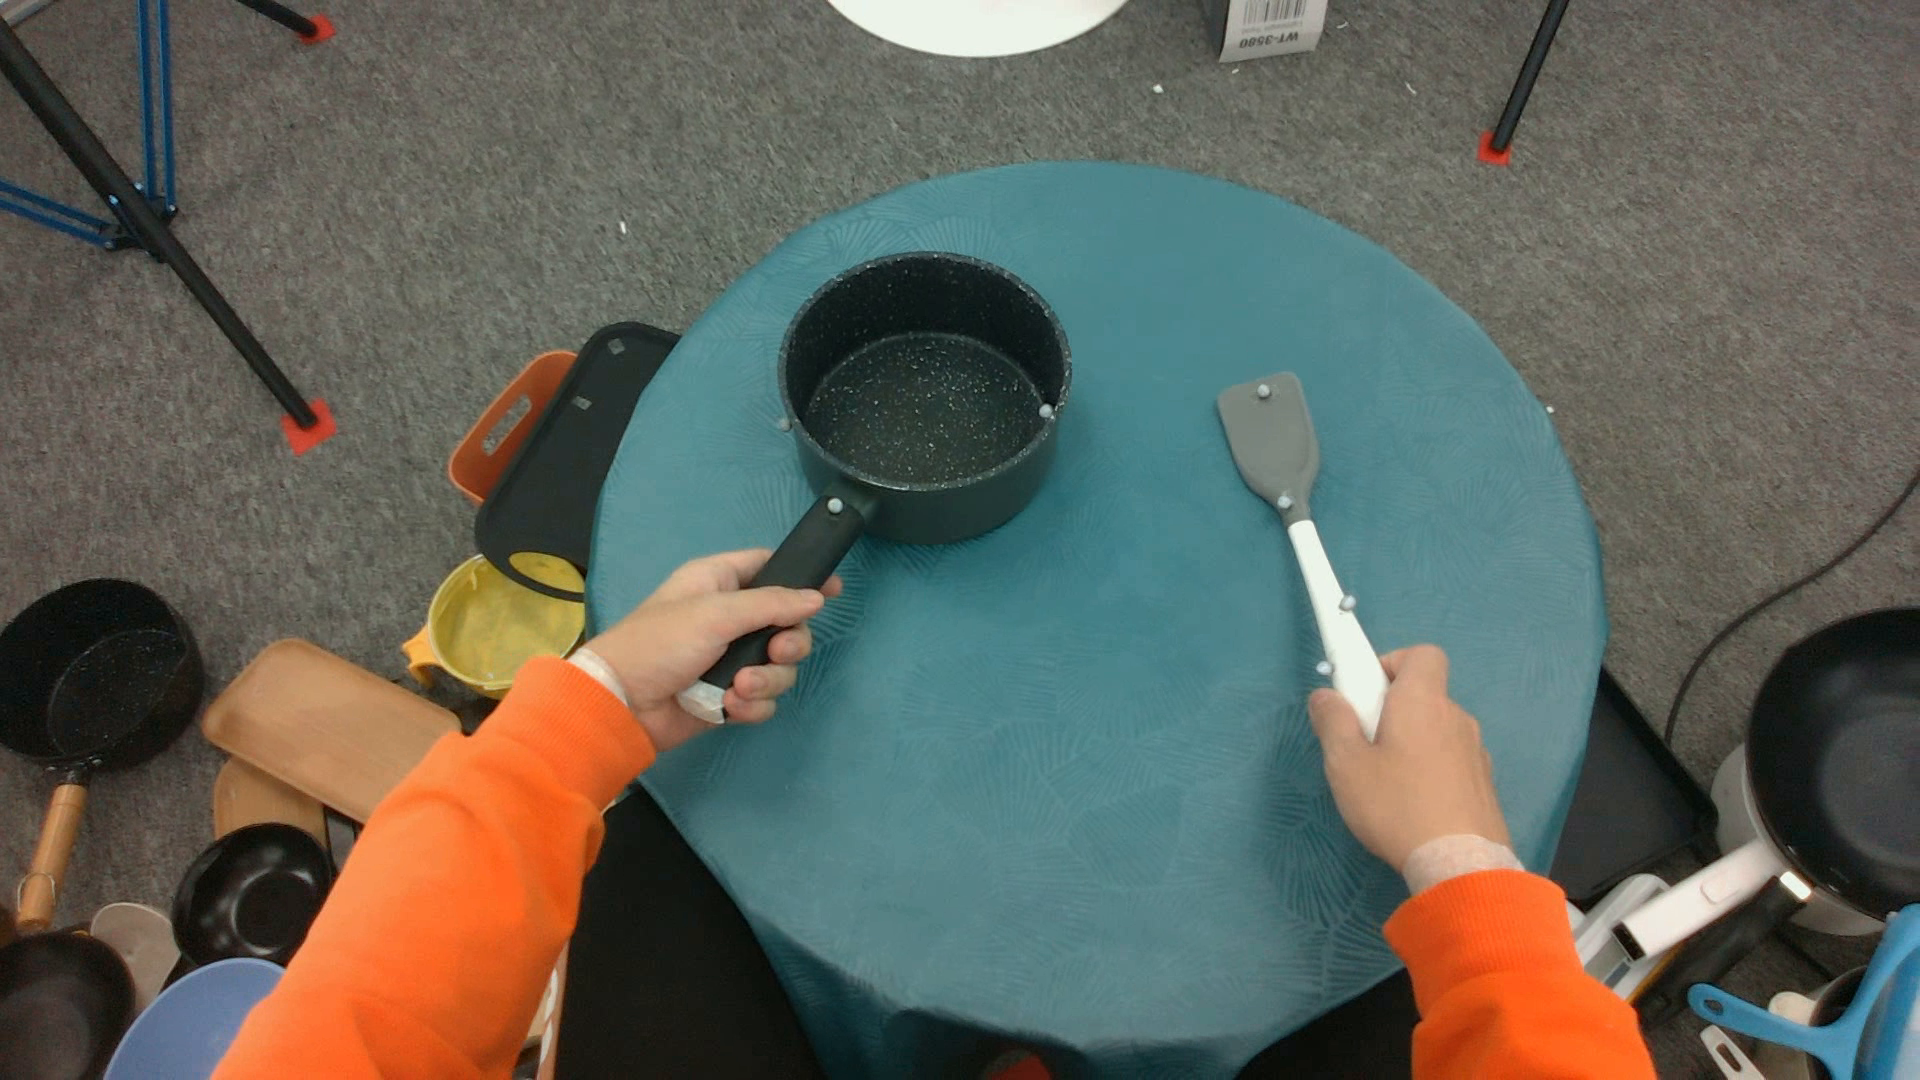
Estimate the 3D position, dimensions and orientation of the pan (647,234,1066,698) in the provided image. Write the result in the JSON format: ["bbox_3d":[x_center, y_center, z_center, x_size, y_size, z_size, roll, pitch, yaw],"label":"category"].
[{"bbox_3d":[-0.063,-0.034,0.787,0.172,0.086,0.330,26,62,14],"label":"pan"}]

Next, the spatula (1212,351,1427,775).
[{"bbox_3d":[0.203,0.001,0.785,0.058,0.032,0.289,-20,49,14],"label":"spatula"}]
